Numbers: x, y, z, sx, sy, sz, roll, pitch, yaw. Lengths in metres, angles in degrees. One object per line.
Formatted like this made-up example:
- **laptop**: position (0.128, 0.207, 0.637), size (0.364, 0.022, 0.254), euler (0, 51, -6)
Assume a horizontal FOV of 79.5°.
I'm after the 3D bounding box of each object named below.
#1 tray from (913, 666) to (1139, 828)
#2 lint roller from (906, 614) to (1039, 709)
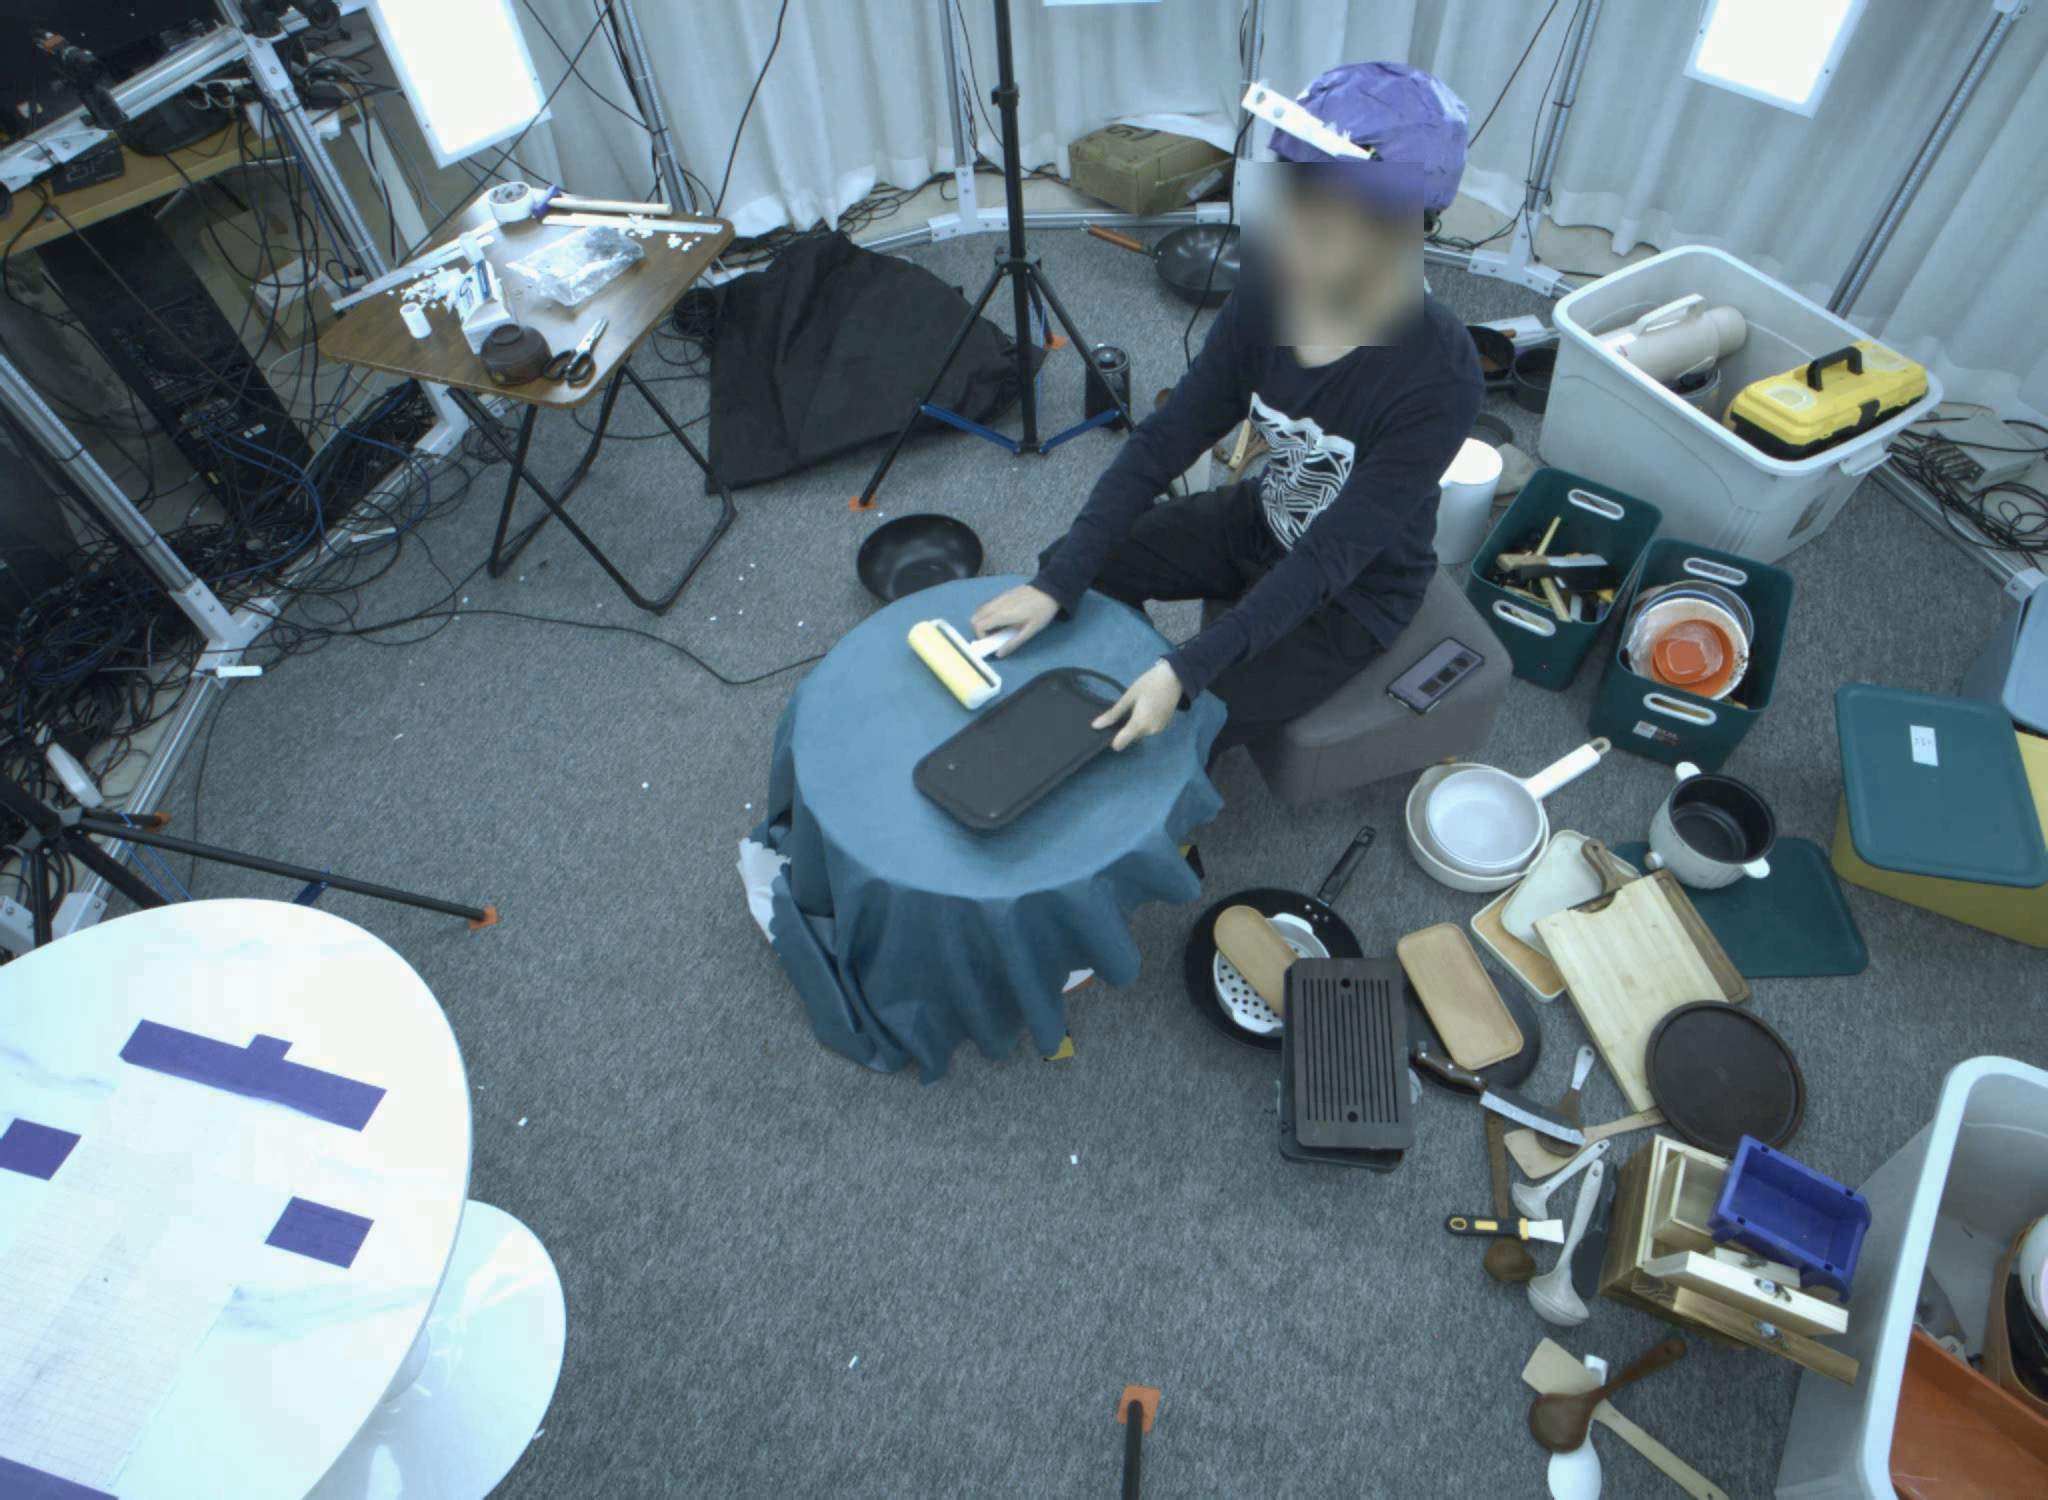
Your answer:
- **tray**: position (0.008, -0.017, 1.769), size (0.328, 0.010, 0.206), euler (-37, 46, -22)
- **lint roller**: position (-0.058, -0.167, 1.885), size (0.193, 0.052, 0.171), euler (-35, 61, -18)
